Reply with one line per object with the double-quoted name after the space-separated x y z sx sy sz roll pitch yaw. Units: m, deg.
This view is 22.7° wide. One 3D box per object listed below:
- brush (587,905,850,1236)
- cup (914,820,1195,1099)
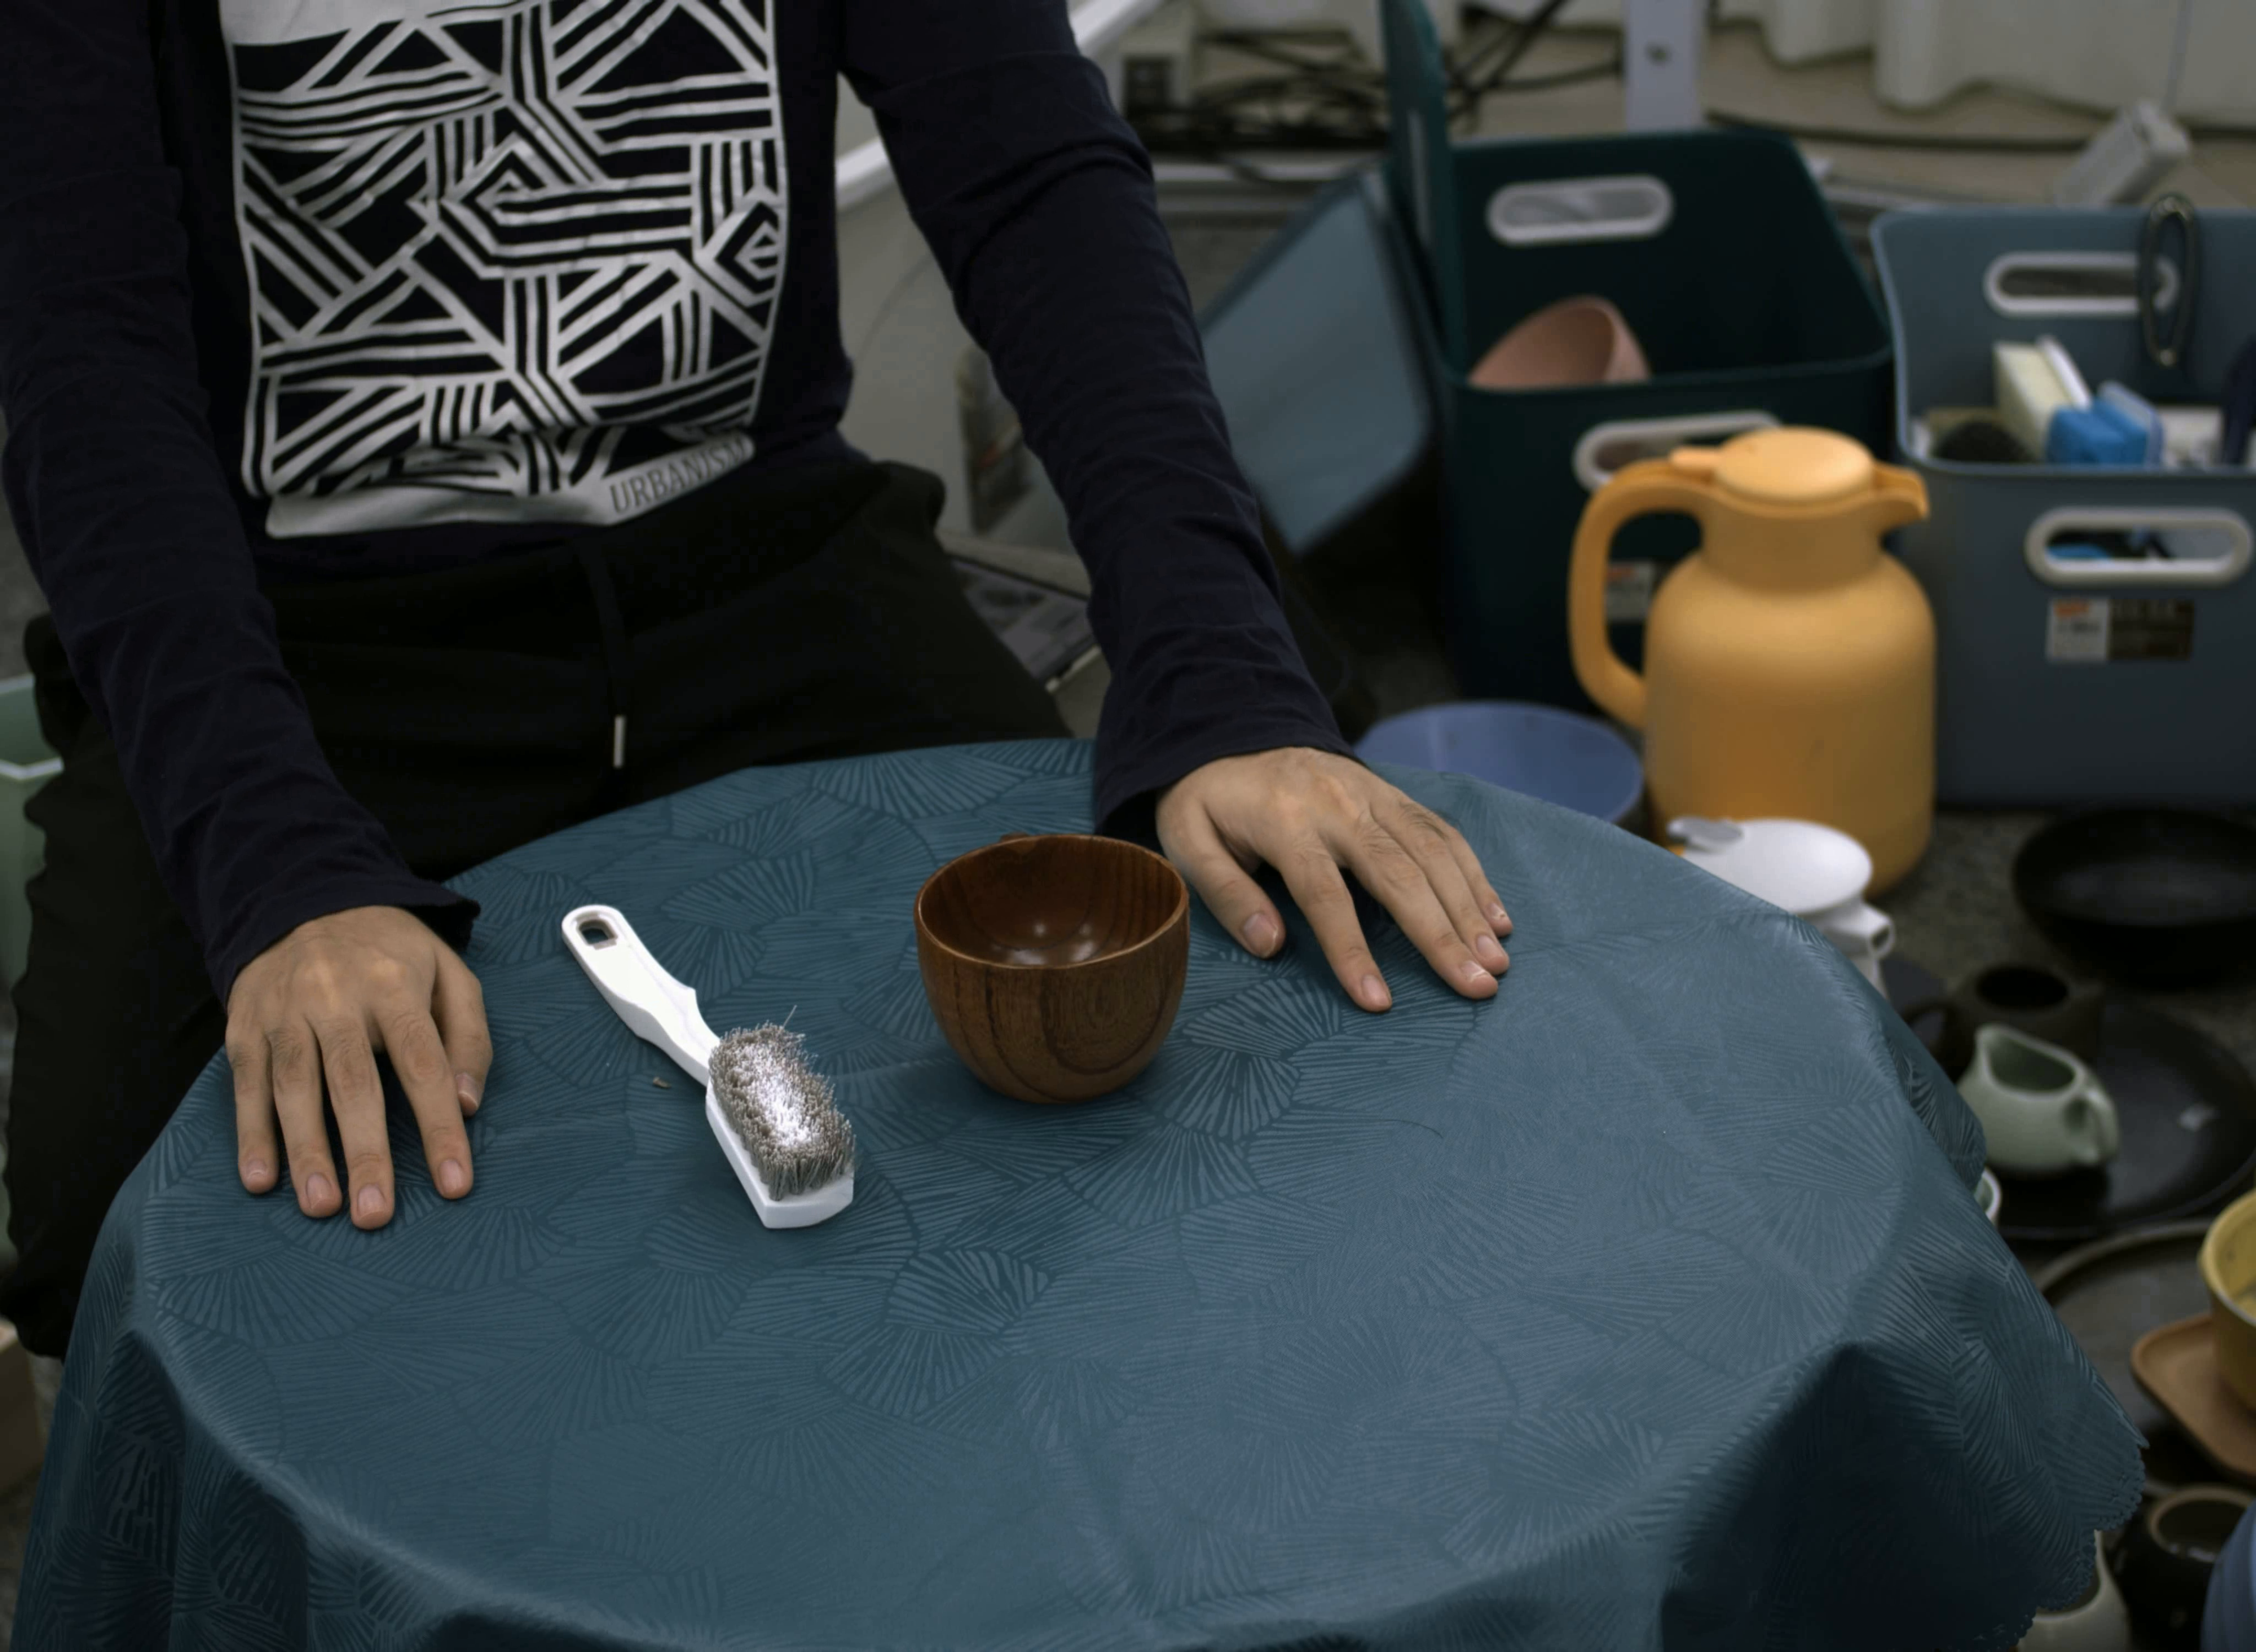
-0.147 0.066 1.930 0.034 0.049 0.245 -17 30 -14 "brush"
-0.026 0.044 1.936 0.096 0.067 0.121 -11 31 -11 "cup"
